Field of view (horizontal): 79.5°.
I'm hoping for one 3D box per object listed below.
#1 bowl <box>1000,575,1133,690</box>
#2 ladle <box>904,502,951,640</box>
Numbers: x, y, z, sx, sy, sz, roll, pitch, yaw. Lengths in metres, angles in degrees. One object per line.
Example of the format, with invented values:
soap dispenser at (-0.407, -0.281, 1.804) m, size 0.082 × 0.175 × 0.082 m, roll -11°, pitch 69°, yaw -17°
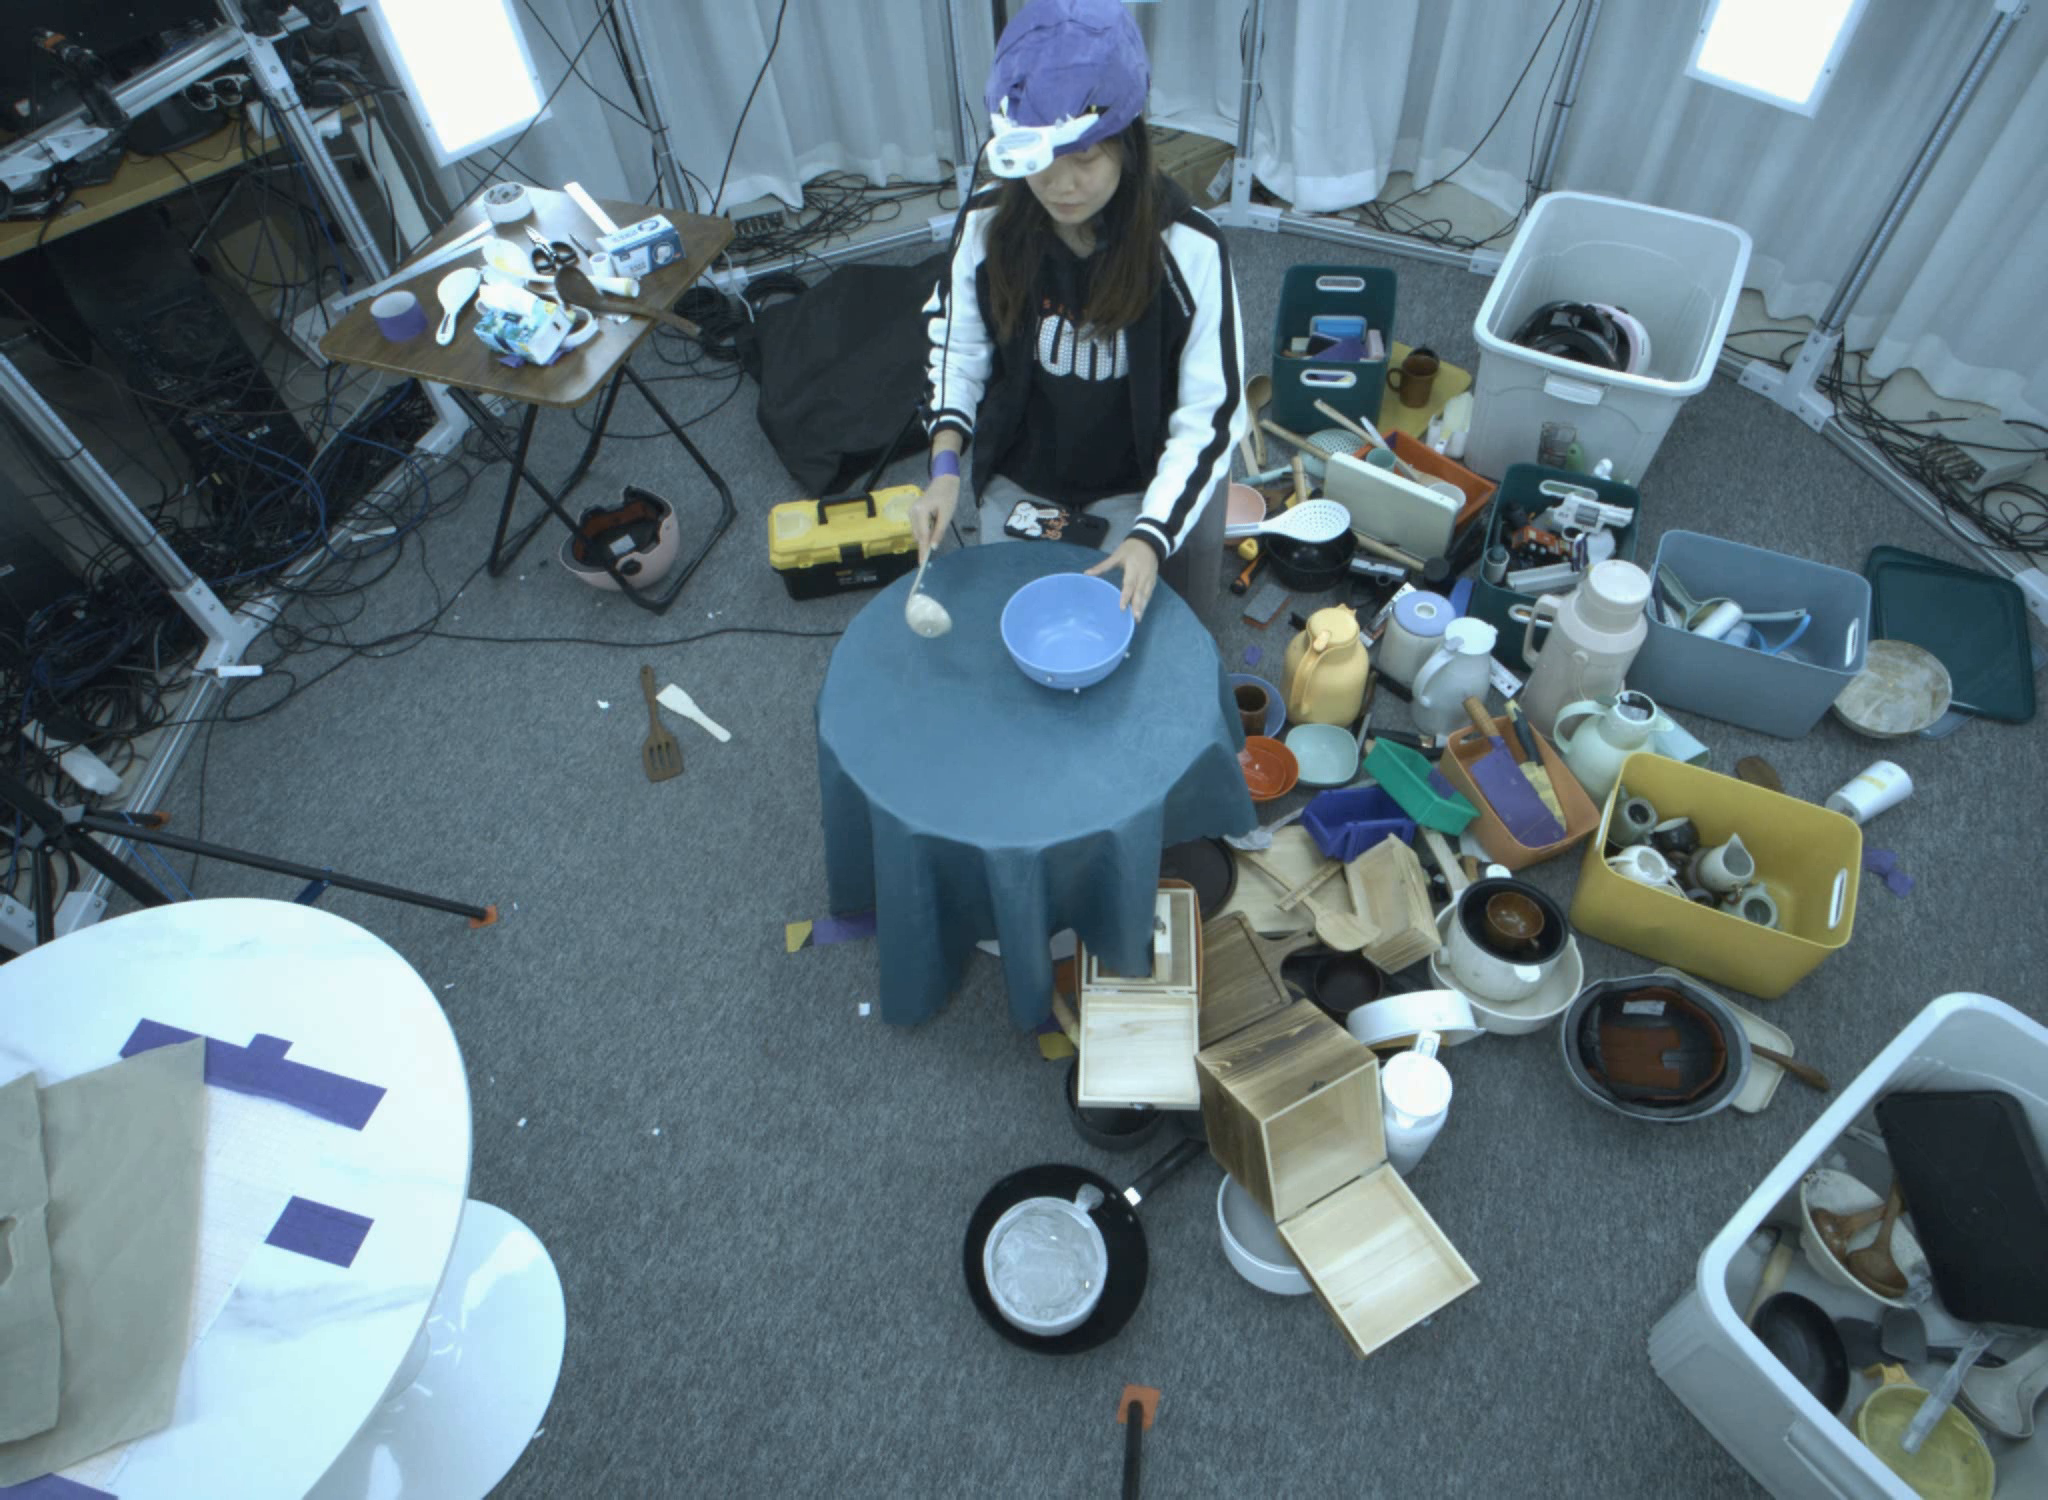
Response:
bowl at (0.066, -0.161, 1.845) m, size 0.196 × 0.096 × 0.194 m, roll -1°, pitch 54°, yaw 3°
ladle at (-0.131, -0.282, 1.871) m, size 0.072 × 0.073 × 0.252 m, roll 3°, pitch 61°, yaw 9°
